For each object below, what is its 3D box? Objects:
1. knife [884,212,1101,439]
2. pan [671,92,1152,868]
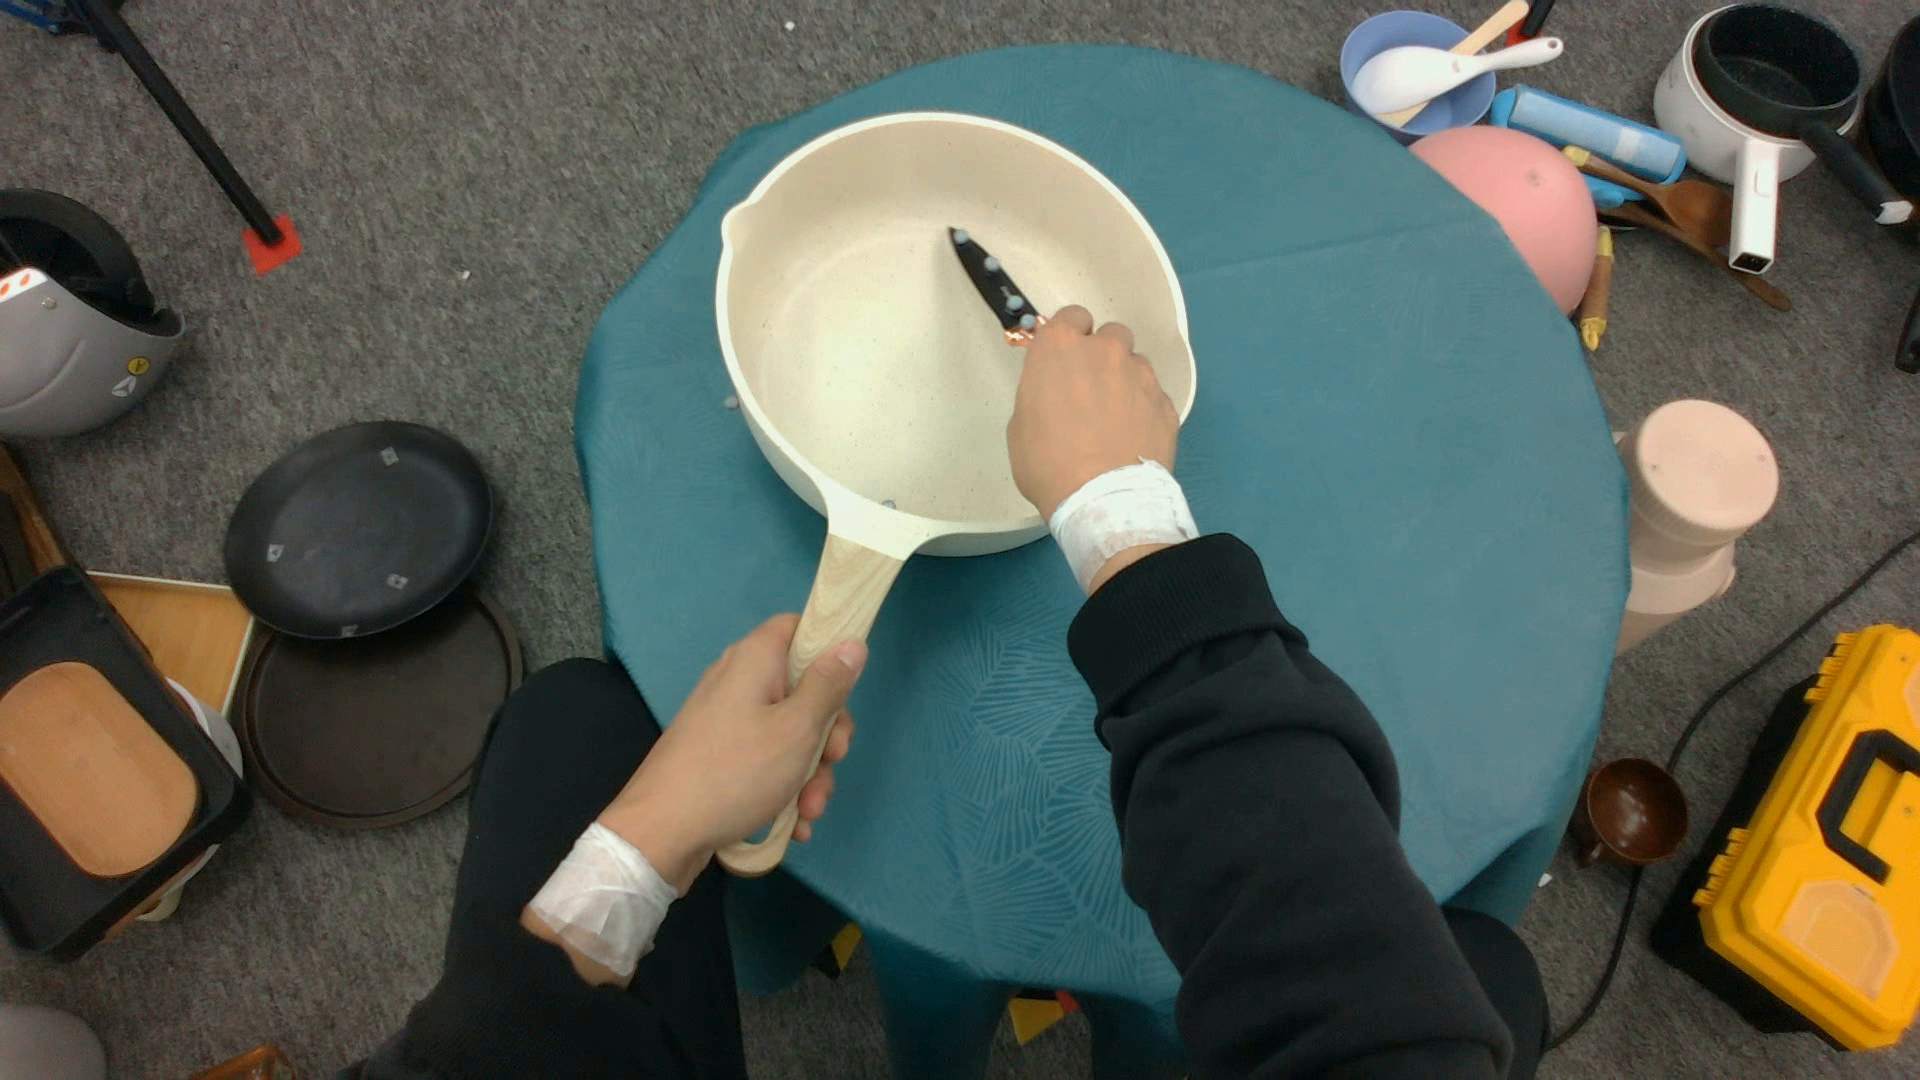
[{"bbox_3d":[0.013,-0.125,0.744,0.026,0.017,0.226,-34,51,-2],"label":"knife"},{"bbox_3d":[-0.055,-0.038,0.711,0.263,0.101,0.436,20,66,-6],"label":"pan"}]
